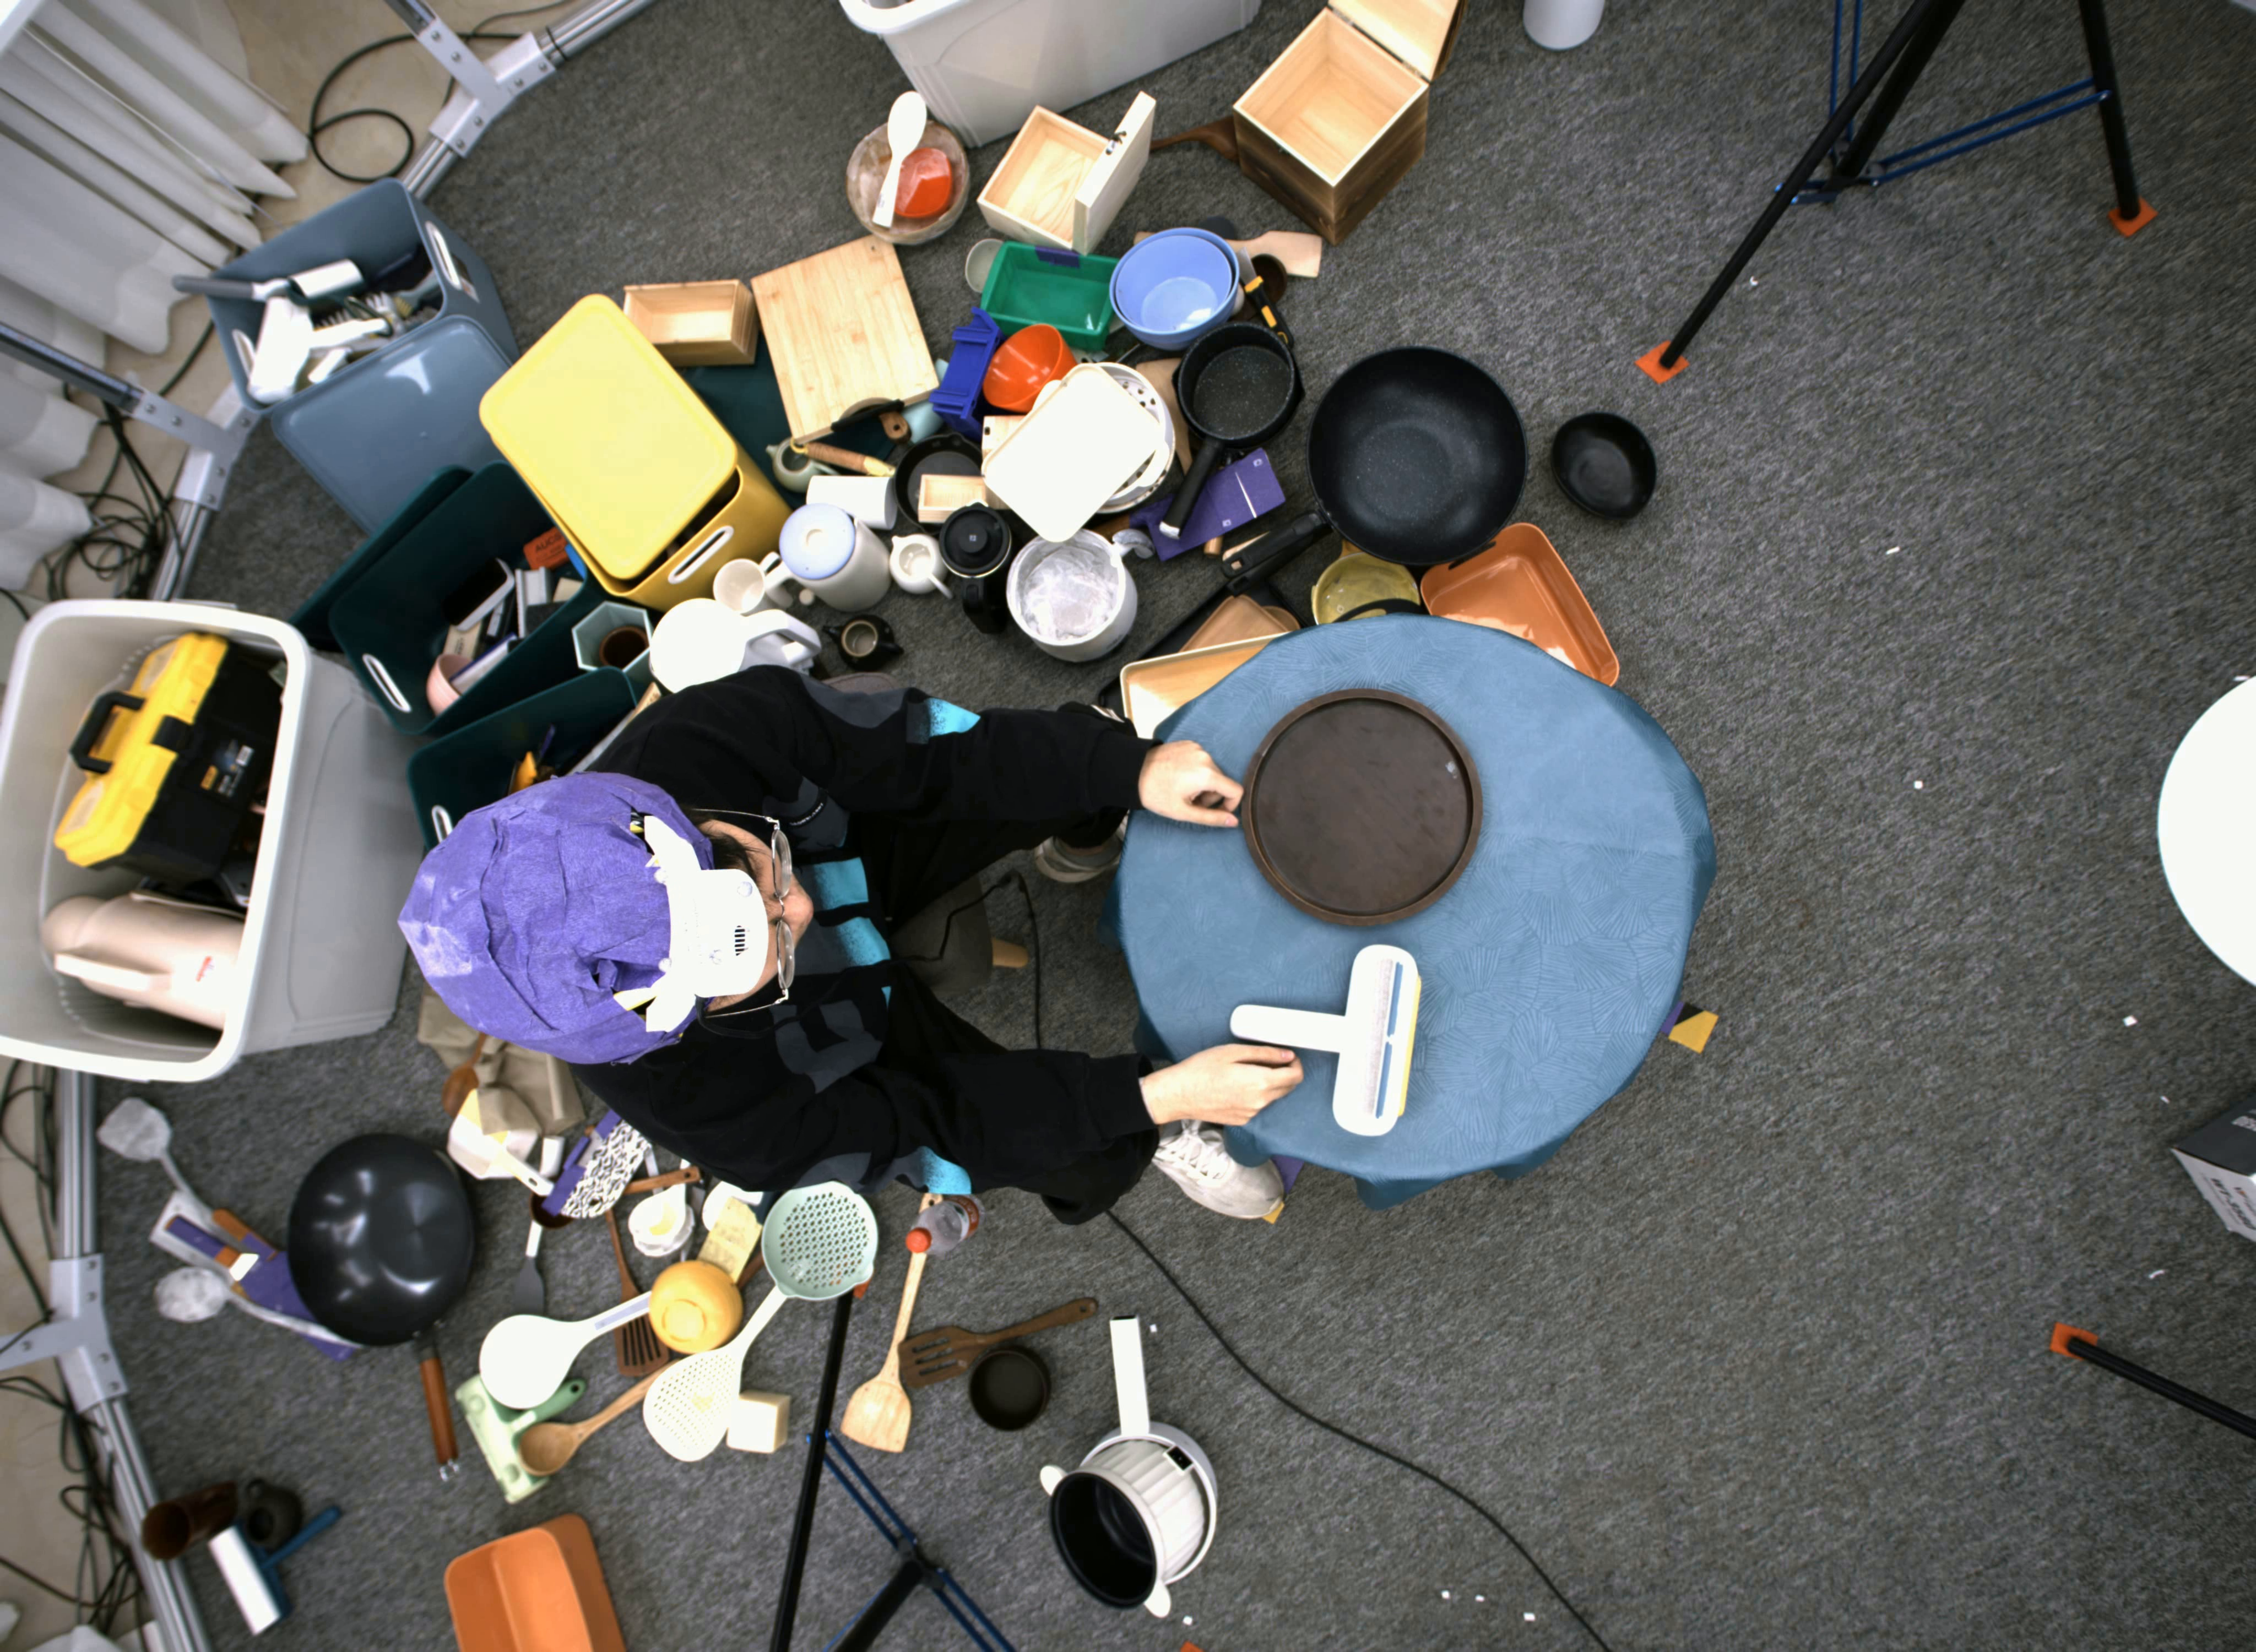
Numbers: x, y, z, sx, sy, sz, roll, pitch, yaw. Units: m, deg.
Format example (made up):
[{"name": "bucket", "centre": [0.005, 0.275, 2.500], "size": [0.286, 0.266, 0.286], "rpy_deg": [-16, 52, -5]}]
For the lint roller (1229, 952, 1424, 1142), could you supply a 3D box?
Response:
[{"name": "lint roller", "centre": [0.196, 0.213, 1.428], "size": [0.193, 0.074, 0.191], "rpy_deg": [12, 84, 13]}]

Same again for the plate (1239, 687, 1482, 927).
[{"name": "plate", "centre": [0.244, -0.021, 1.453], "size": [0.256, 0.029, 0.253], "rpy_deg": [-1, 87, 11]}]
